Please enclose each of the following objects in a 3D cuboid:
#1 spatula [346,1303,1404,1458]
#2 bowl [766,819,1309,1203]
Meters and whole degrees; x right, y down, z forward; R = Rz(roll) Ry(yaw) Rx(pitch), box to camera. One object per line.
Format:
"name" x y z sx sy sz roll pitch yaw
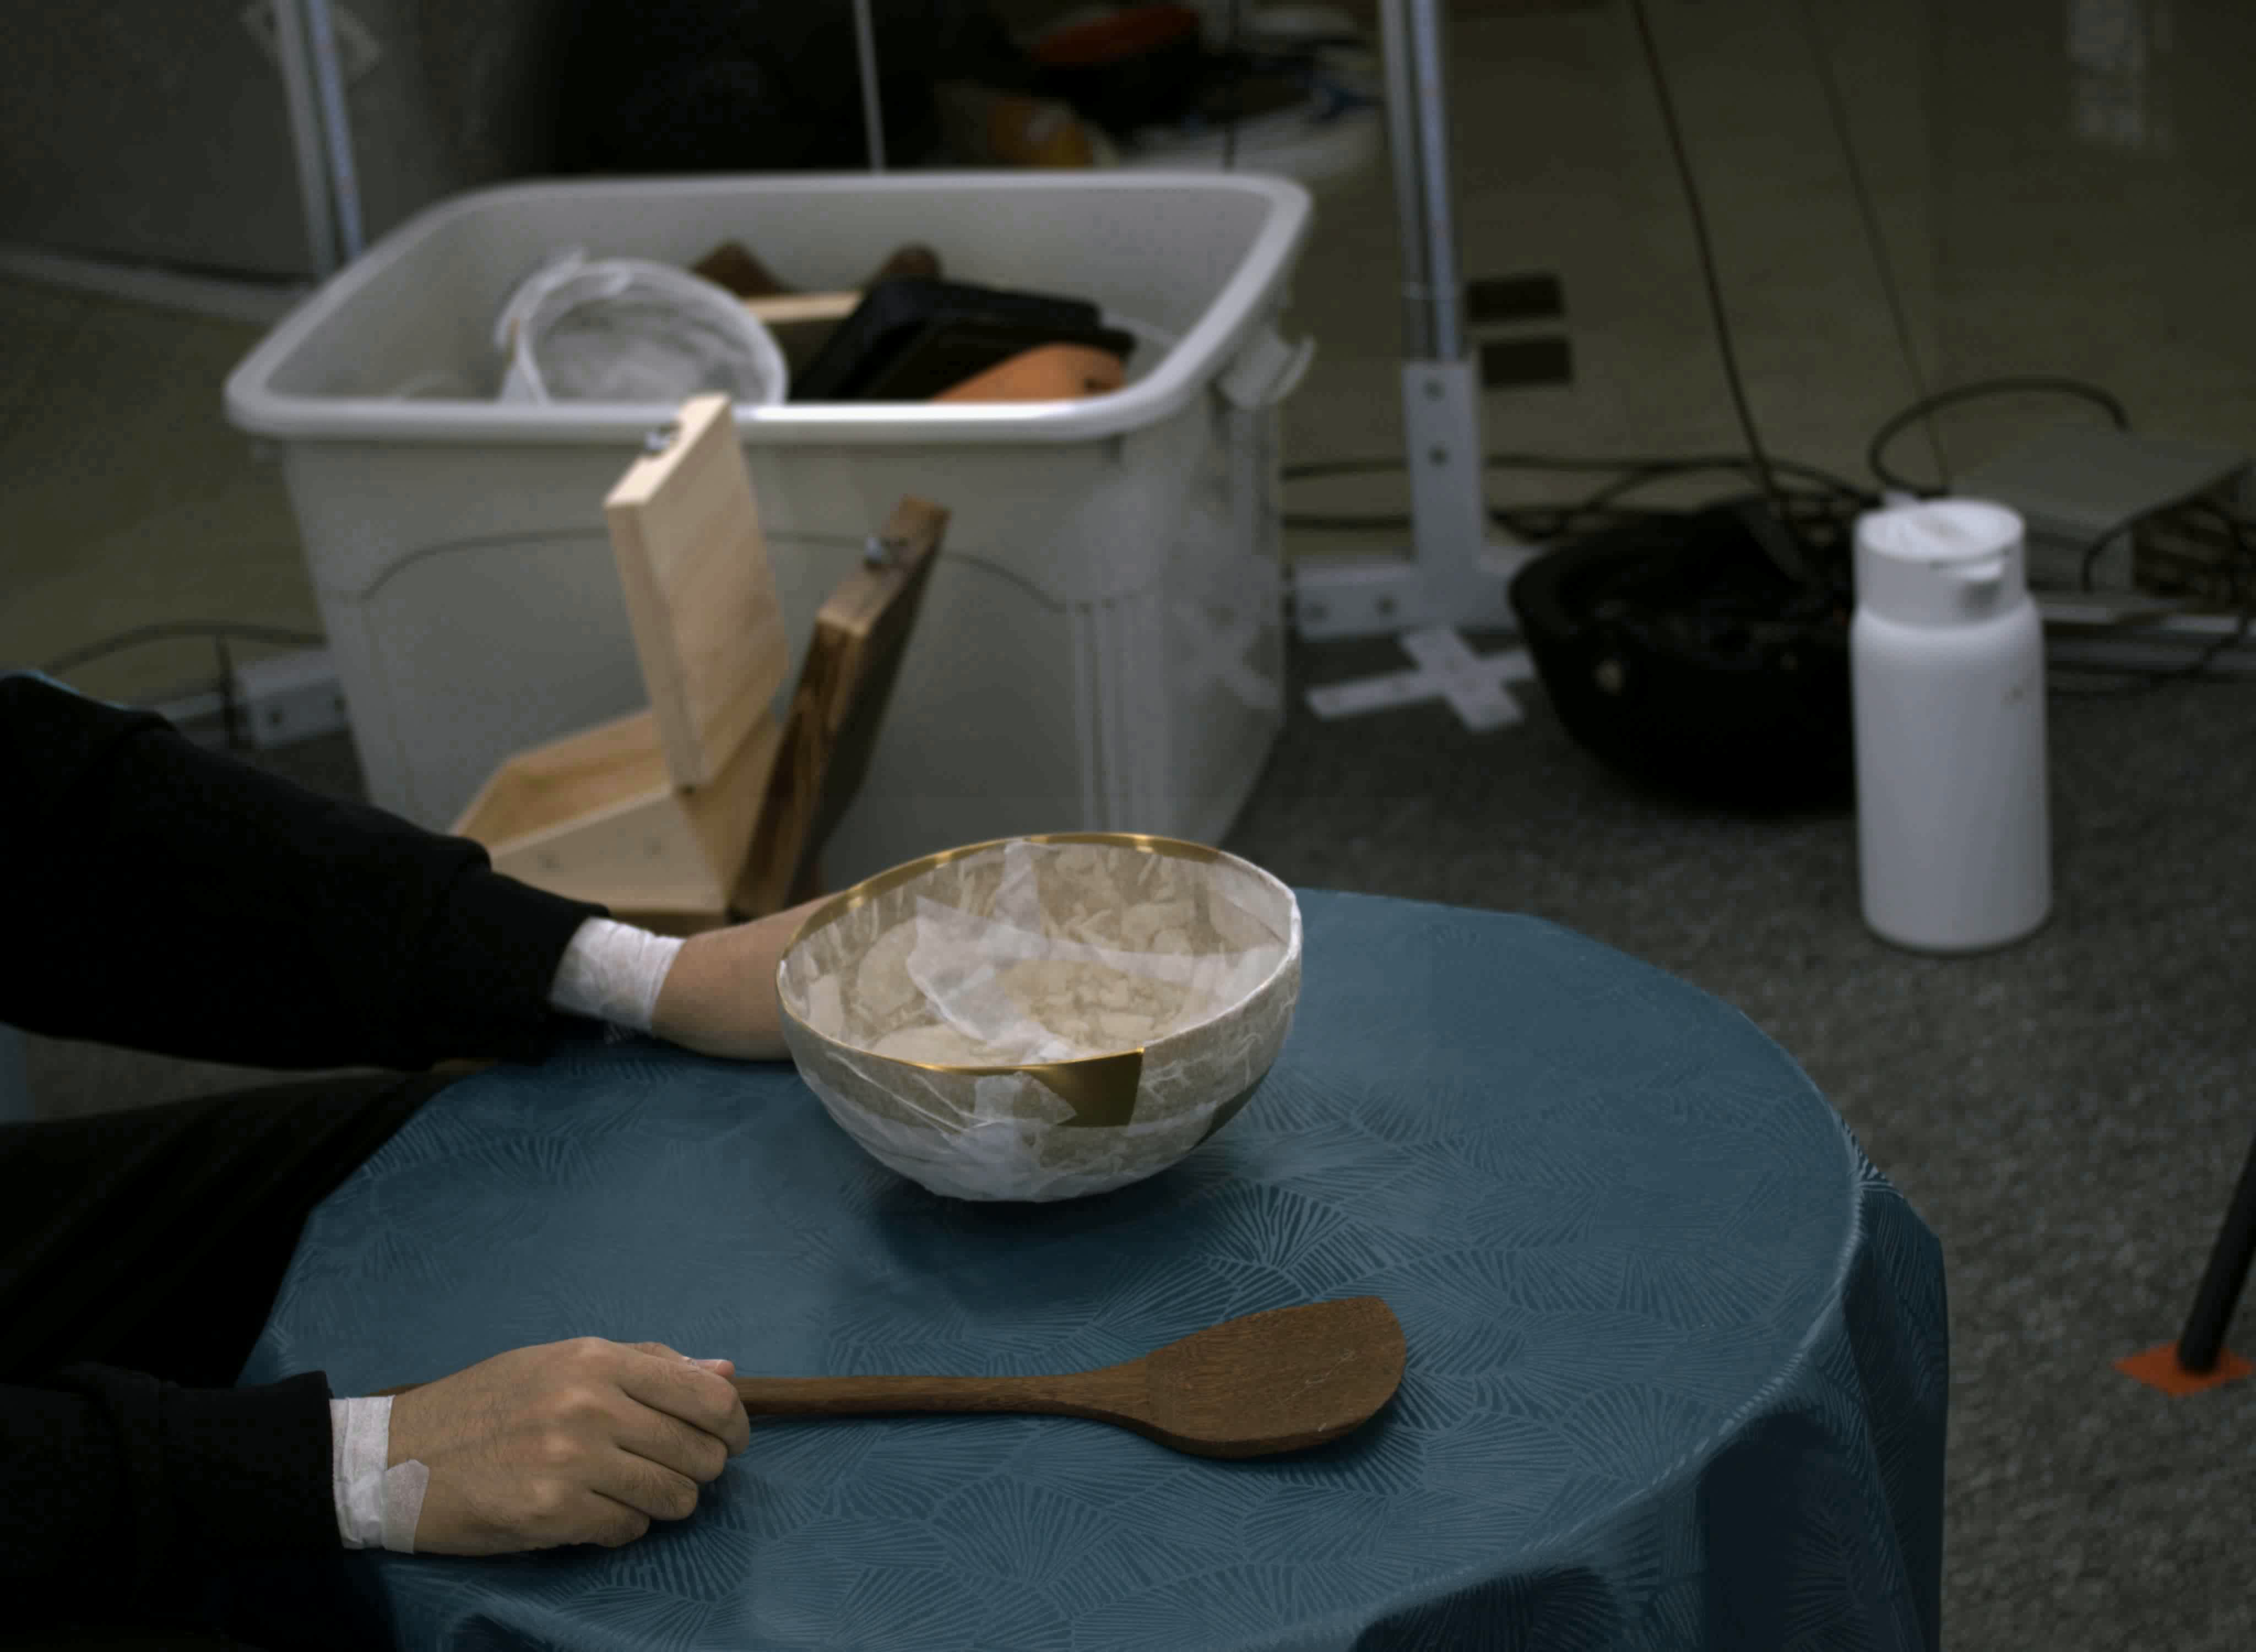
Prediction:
"spatula" -0.093 0.203 2.022 0.385 0.016 0.095 -3 24 9
"bowl" -0.031 0.083 2.167 0.214 0.096 0.211 -6 26 3
